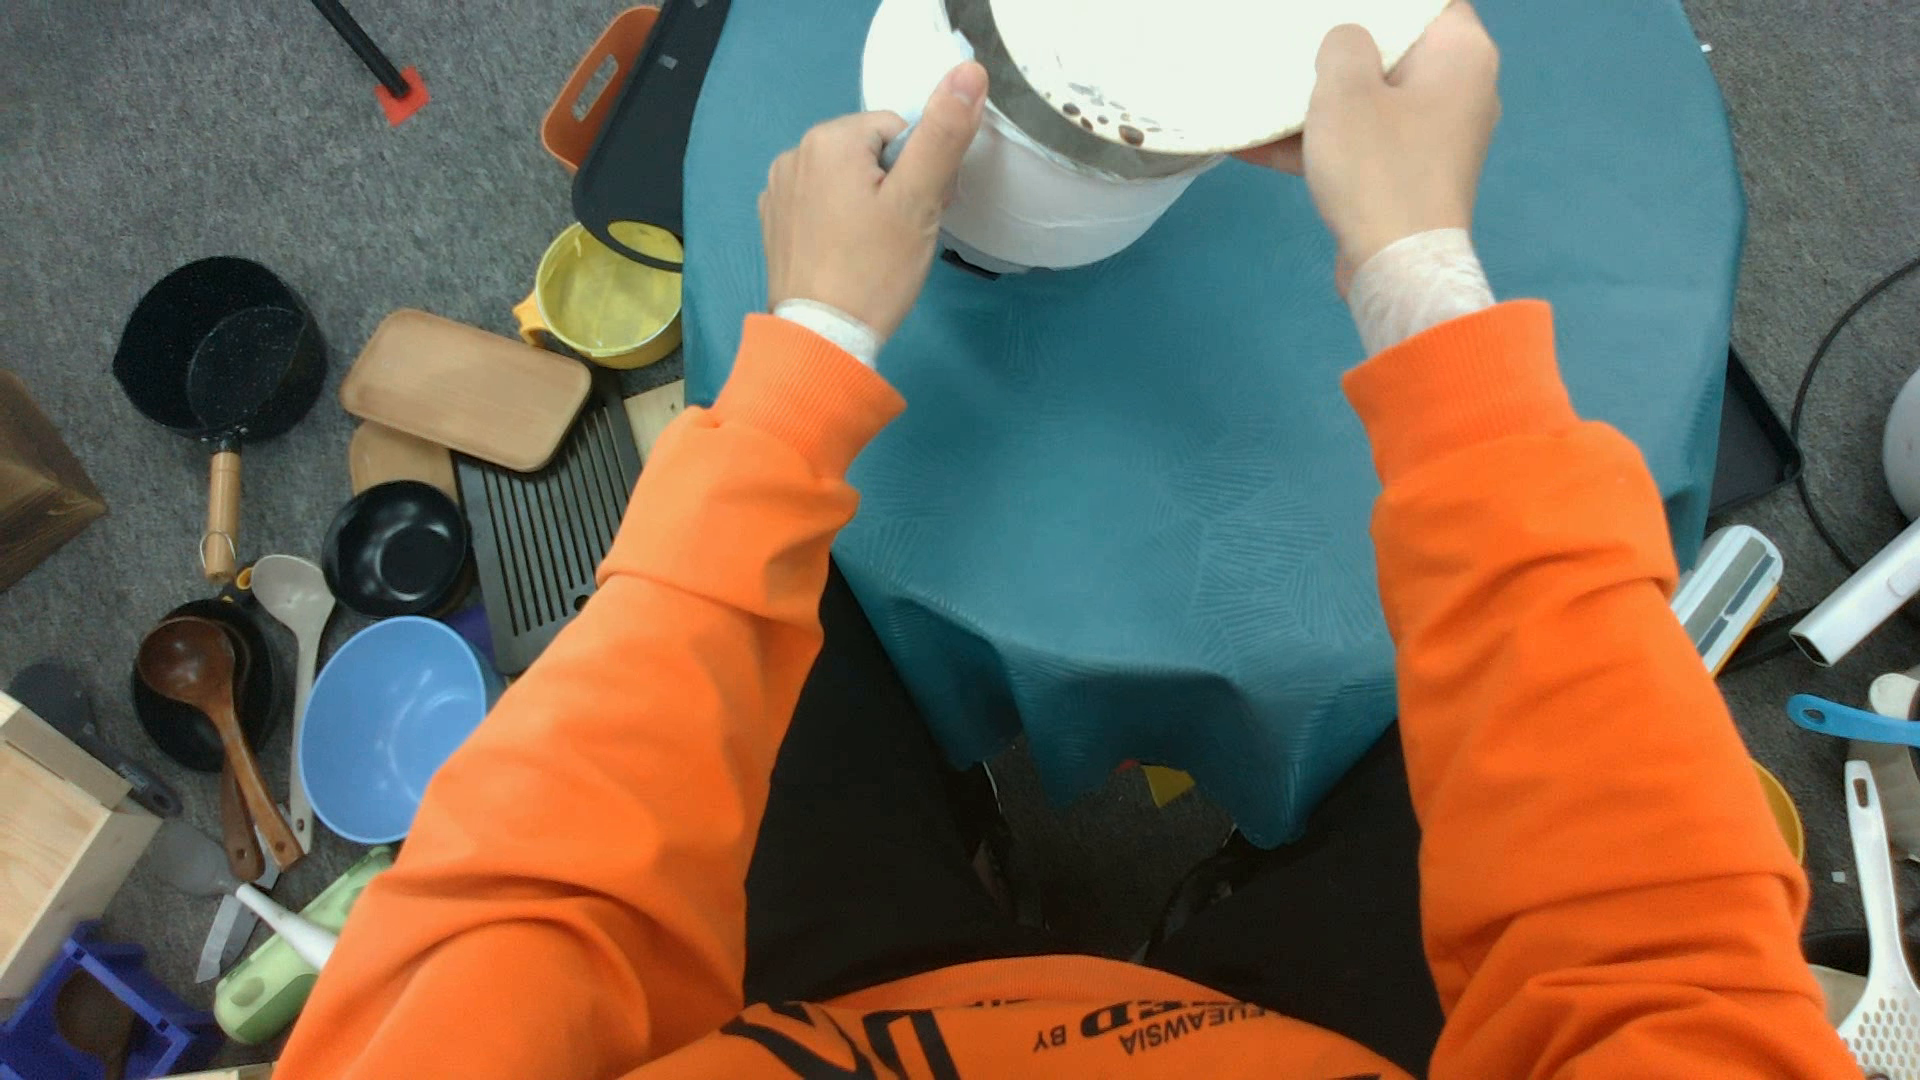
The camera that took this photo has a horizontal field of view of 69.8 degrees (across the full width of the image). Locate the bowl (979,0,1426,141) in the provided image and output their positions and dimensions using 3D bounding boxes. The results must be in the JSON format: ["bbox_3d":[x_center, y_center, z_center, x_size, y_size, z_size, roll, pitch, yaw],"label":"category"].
[{"bbox_3d":[0.112,-0.259,0.600,0.203,0.078,0.204,-2,83,17],"label":"bowl"}]

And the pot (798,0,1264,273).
[{"bbox_3d":[0.021,-0.220,0.667,0.178,0.136,0.234,46,67,-5],"label":"pot"}]
